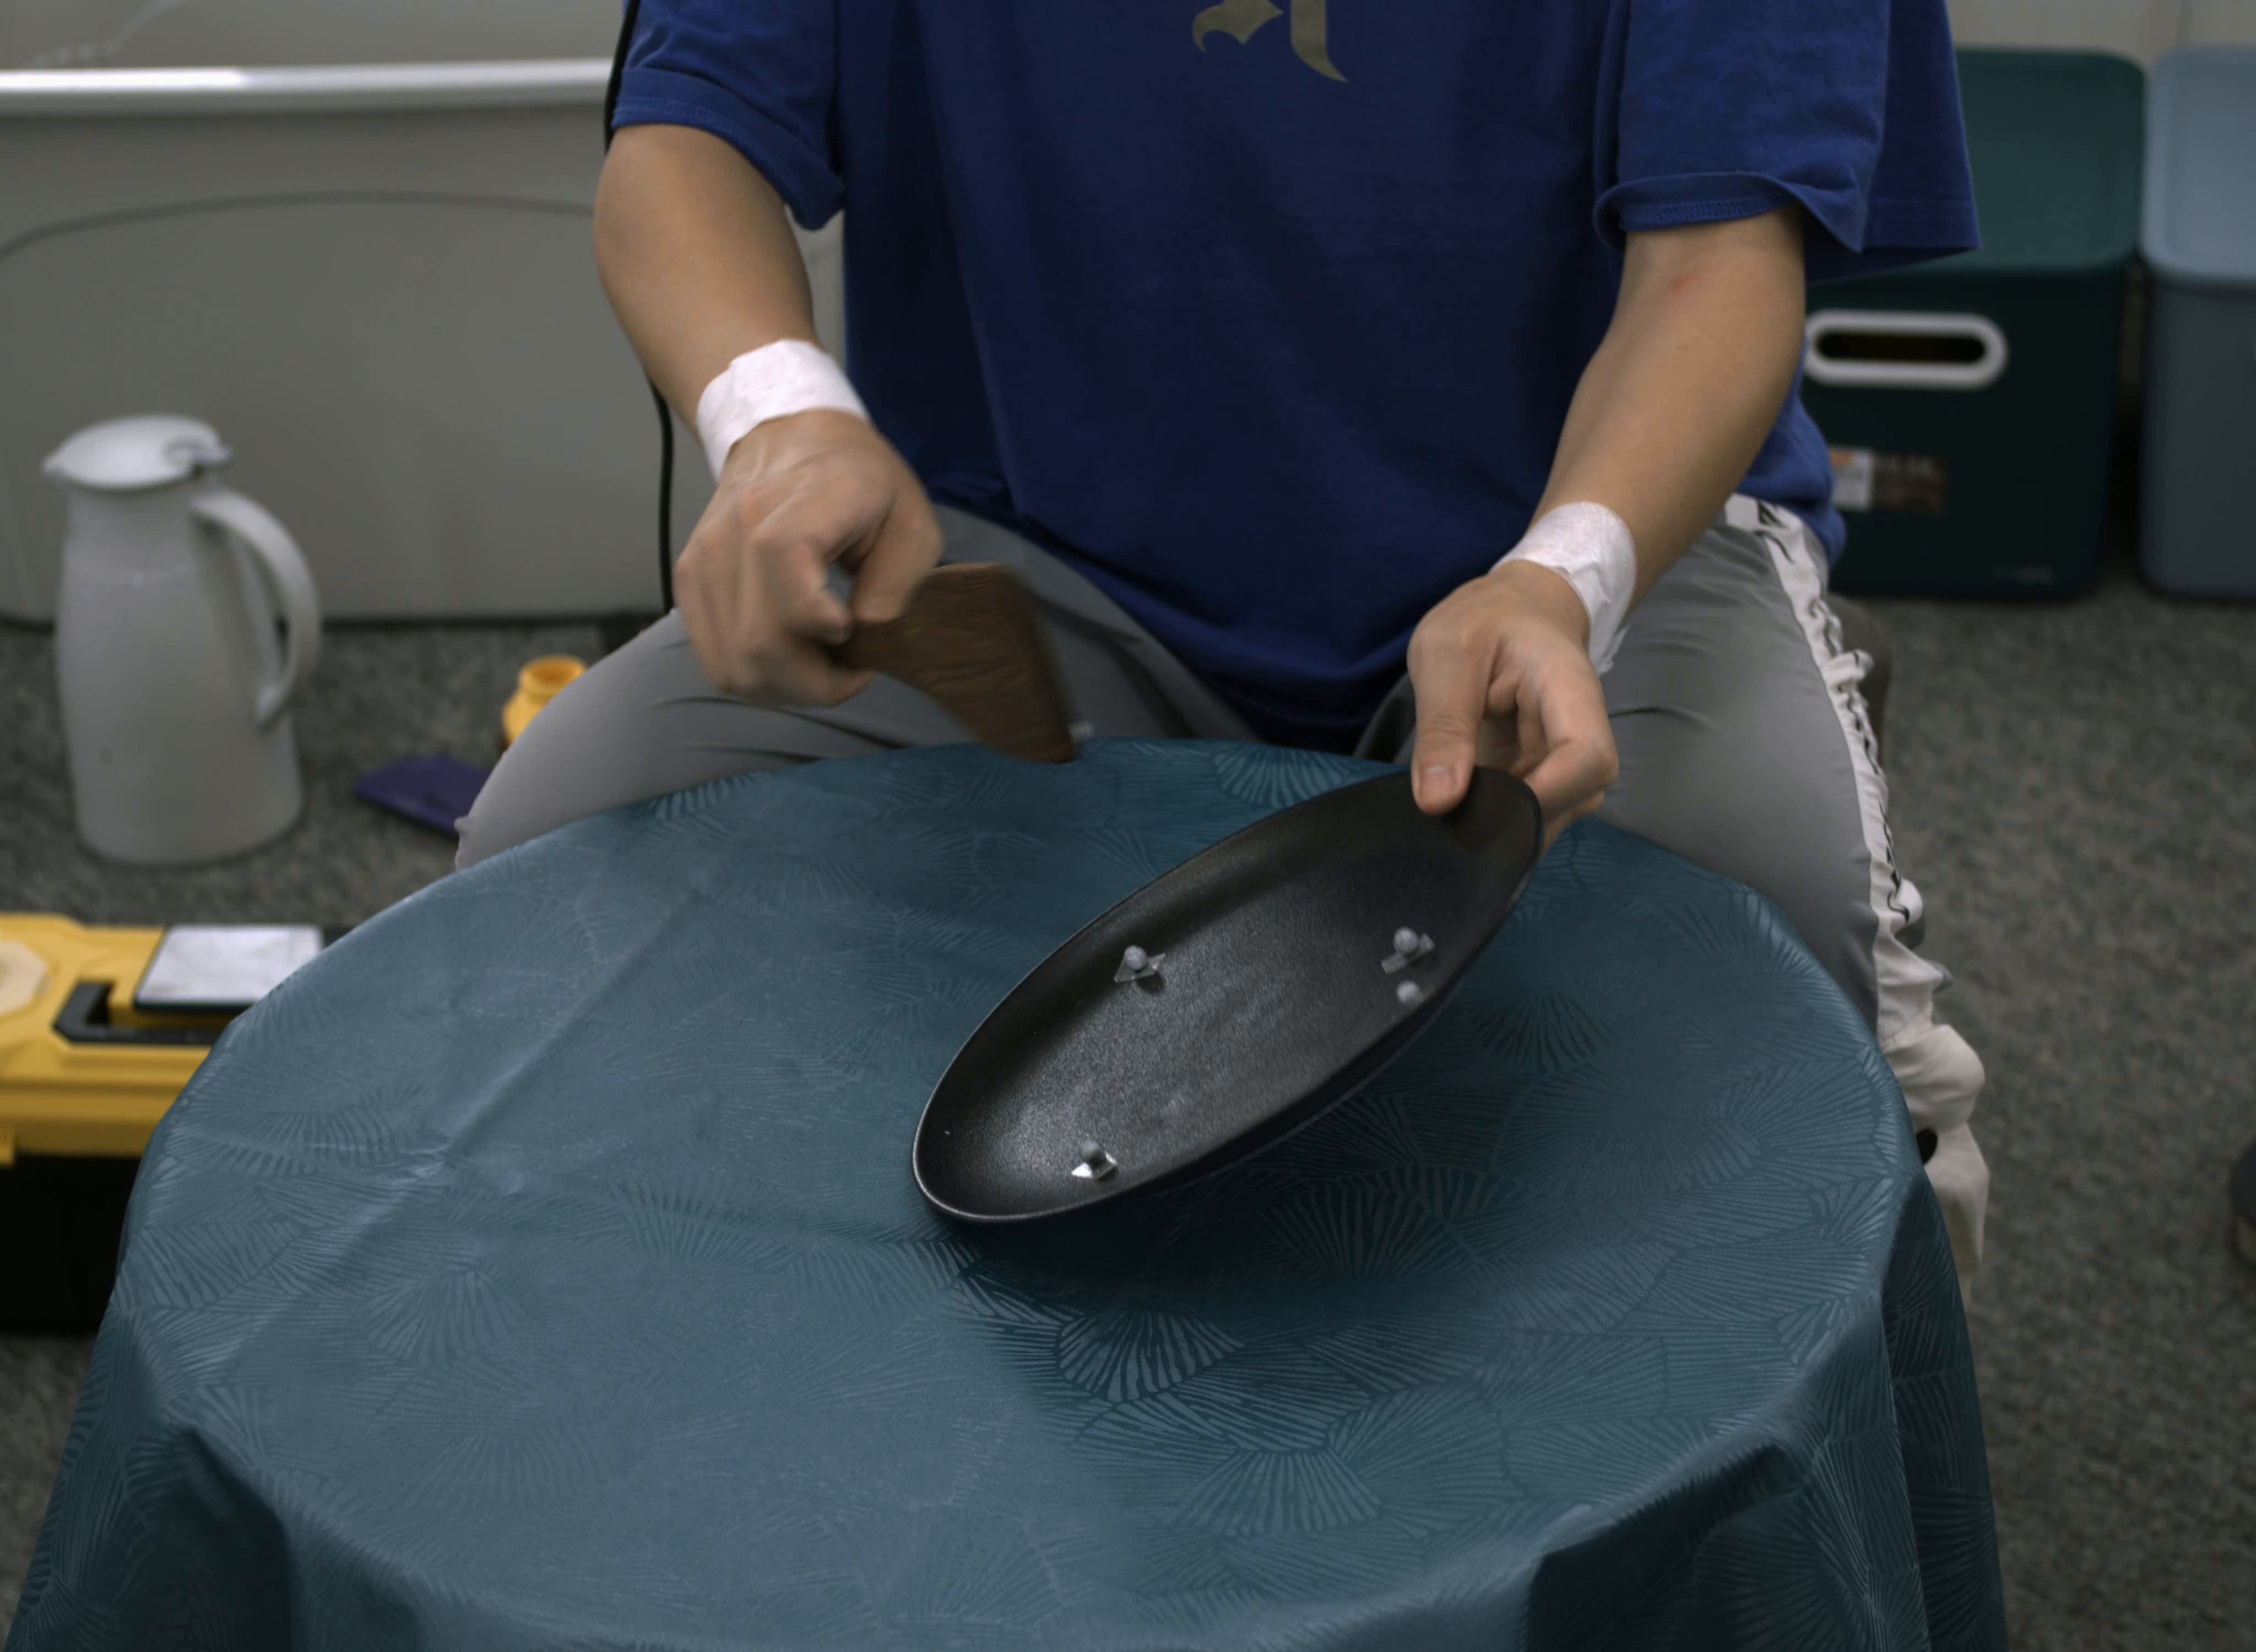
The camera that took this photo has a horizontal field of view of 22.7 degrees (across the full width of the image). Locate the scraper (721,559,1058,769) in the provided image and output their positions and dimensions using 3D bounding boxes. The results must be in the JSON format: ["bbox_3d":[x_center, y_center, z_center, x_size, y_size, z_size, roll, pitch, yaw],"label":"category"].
[{"bbox_3d":[-0.088,-0.059,1.926,0.011,0.075,0.210,-29,18,-25],"label":"scraper"}]

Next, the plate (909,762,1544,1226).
[{"bbox_3d":[0.036,0.060,1.864,0.242,0.023,0.247,-28,20,11],"label":"plate"}]
